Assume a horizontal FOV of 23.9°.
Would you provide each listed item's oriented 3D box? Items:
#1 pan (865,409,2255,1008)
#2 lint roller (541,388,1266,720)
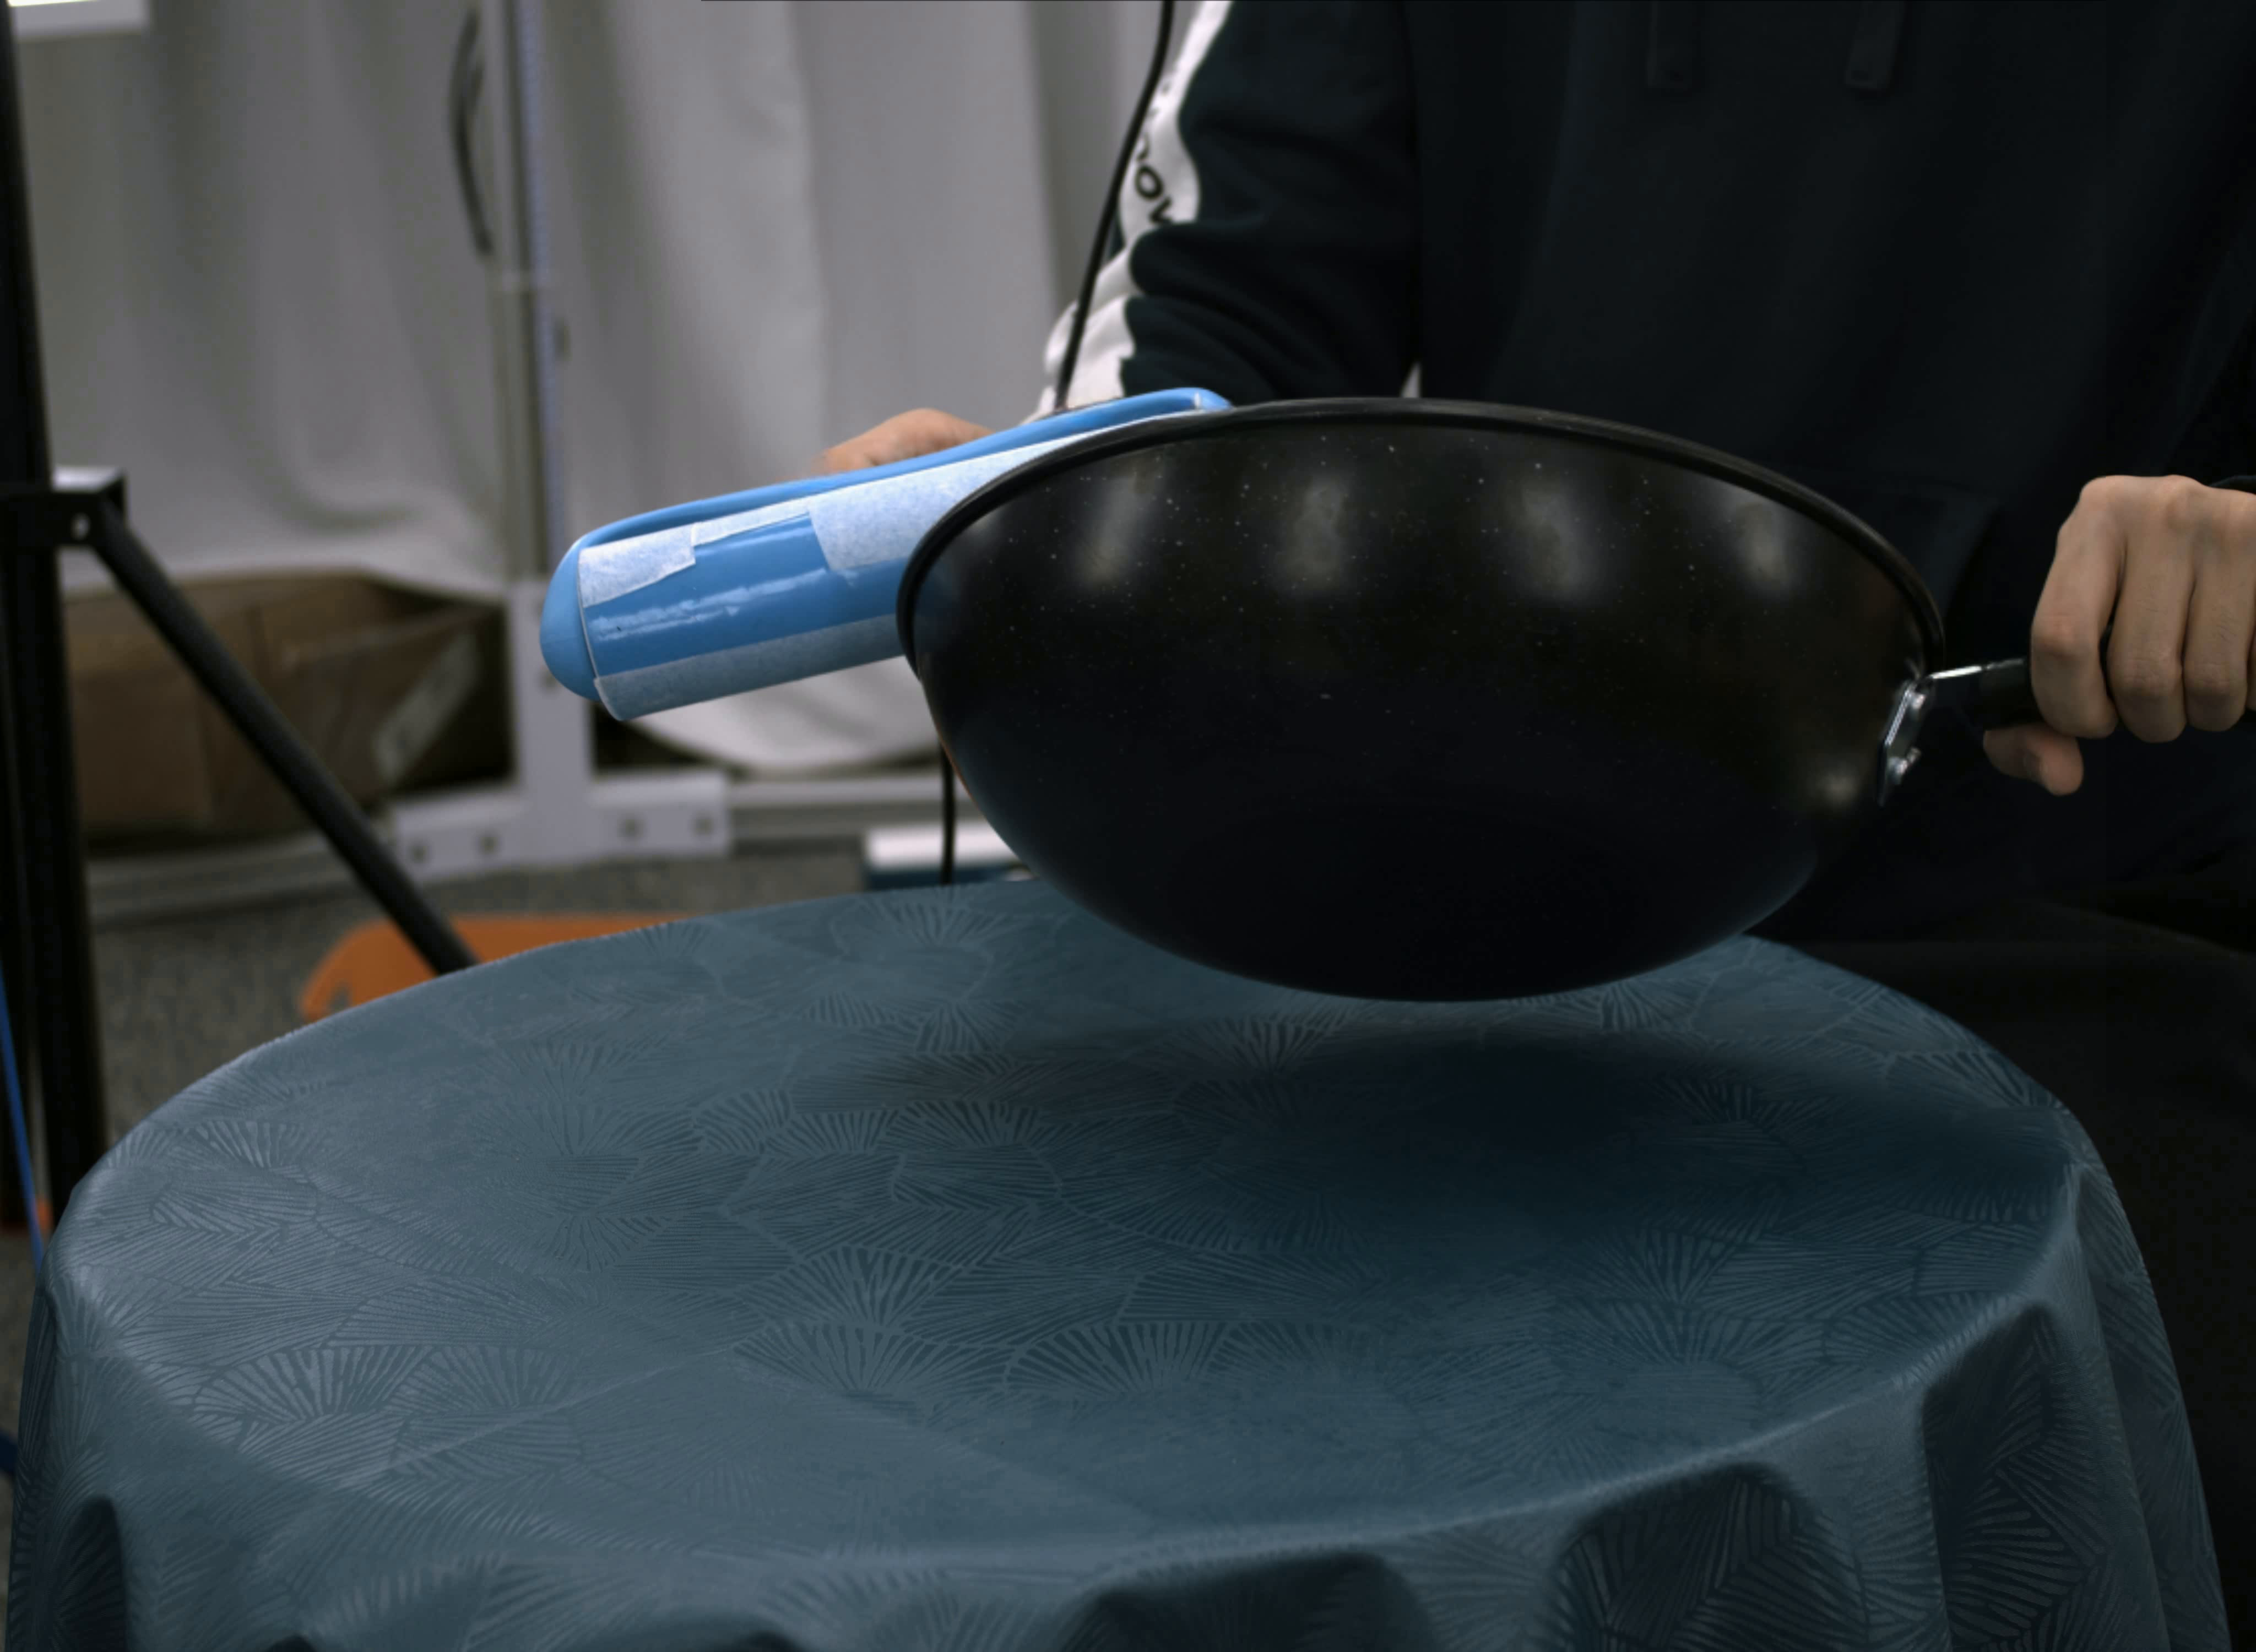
[{"bbox_3d":[0.158,-0.023,1.540,0.477,0.112,0.307,2,-22,7],"label":"pan"},{"bbox_3d":[-0.064,-0.082,1.663,0.228,0.068,0.180,-14,1,4],"label":"lint roller"}]
